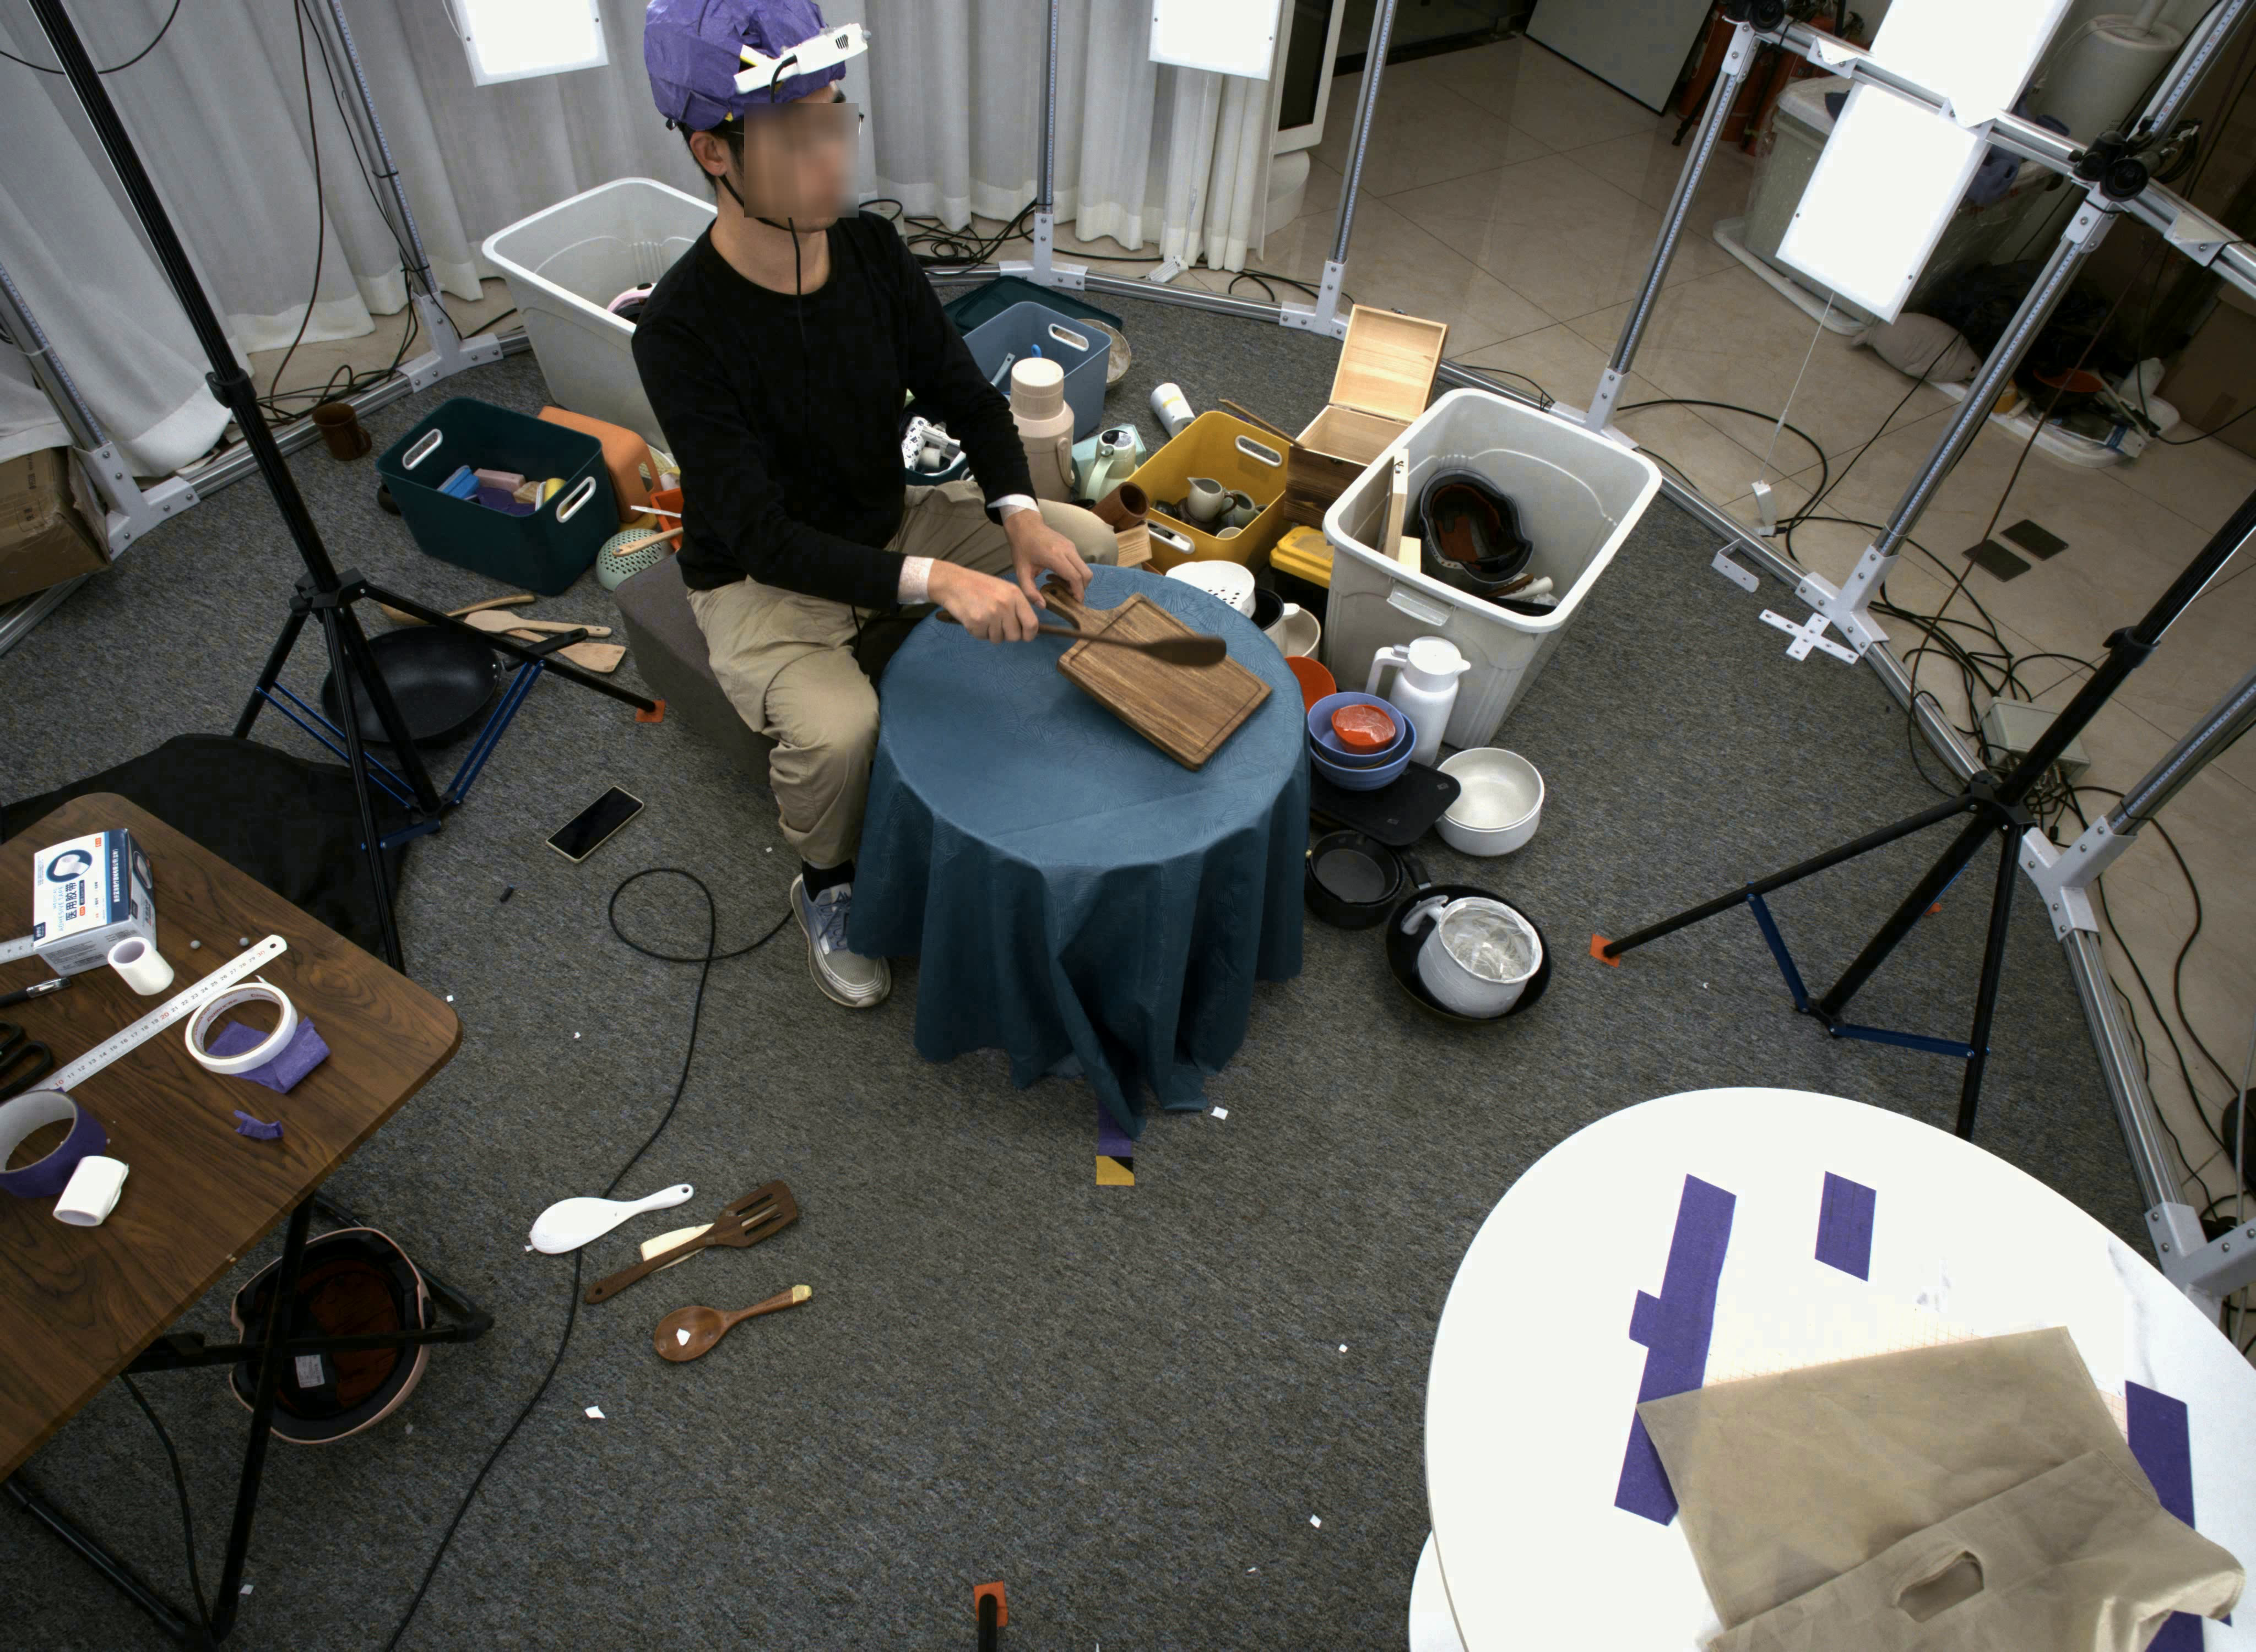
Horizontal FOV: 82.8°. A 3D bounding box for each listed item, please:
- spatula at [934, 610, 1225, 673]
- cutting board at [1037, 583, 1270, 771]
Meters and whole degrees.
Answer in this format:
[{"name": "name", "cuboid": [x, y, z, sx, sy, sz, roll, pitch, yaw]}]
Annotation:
[{"name": "spatula", "cuboid": [-0.063, -0.247, 1.689, 0.386, 0.095, 0.016, 10, 73, 1]}, {"name": "cutting board", "cuboid": [0.013, -0.239, 1.823, 0.355, 0.023, 0.204, 37, 56, 12]}]
